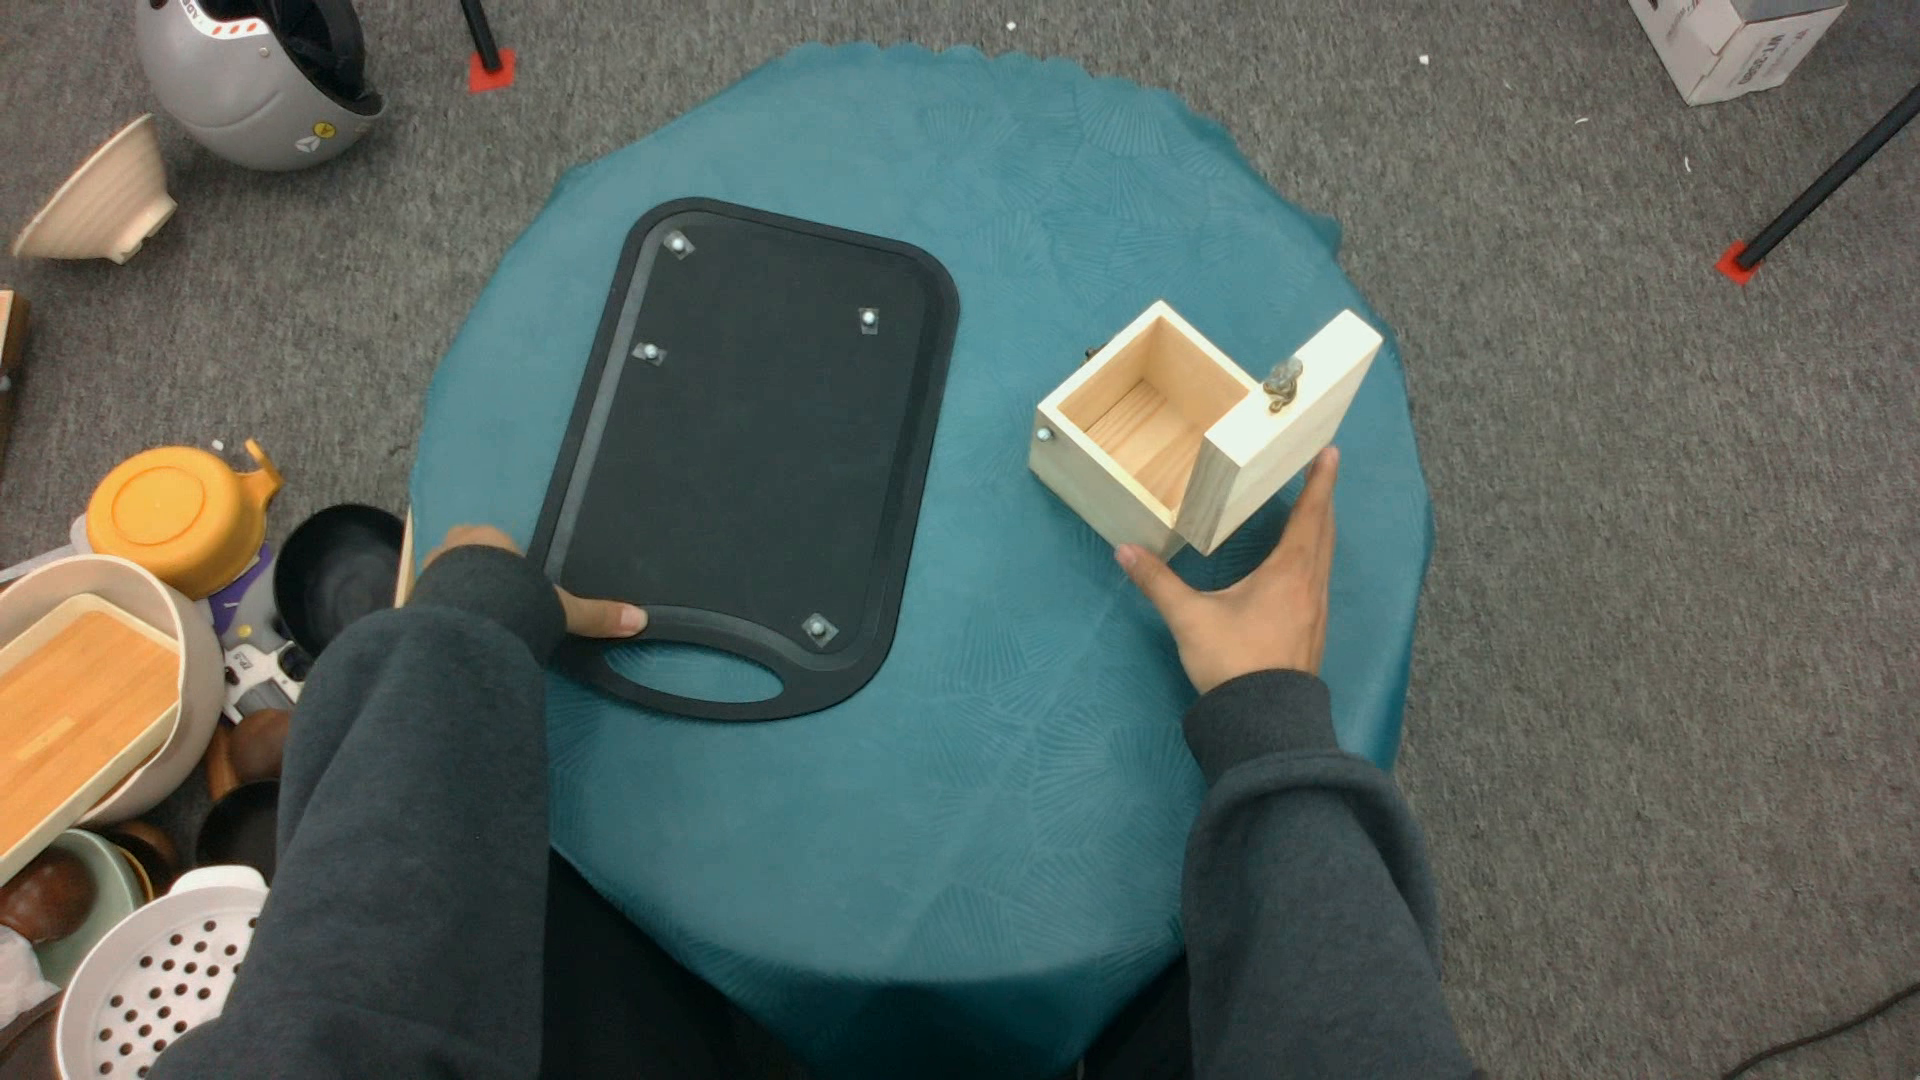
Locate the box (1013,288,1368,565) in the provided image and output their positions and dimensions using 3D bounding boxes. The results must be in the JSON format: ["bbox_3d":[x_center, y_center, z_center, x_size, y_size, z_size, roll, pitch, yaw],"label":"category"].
[{"bbox_3d":[0.112,-0.078,0.739,0.134,0.184,0.103,43,72,14],"label":"box"}]

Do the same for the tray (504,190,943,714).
[{"bbox_3d":[-0.132,-0.058,0.806,0.211,0.010,0.326,12,68,-4],"label":"tray"}]
